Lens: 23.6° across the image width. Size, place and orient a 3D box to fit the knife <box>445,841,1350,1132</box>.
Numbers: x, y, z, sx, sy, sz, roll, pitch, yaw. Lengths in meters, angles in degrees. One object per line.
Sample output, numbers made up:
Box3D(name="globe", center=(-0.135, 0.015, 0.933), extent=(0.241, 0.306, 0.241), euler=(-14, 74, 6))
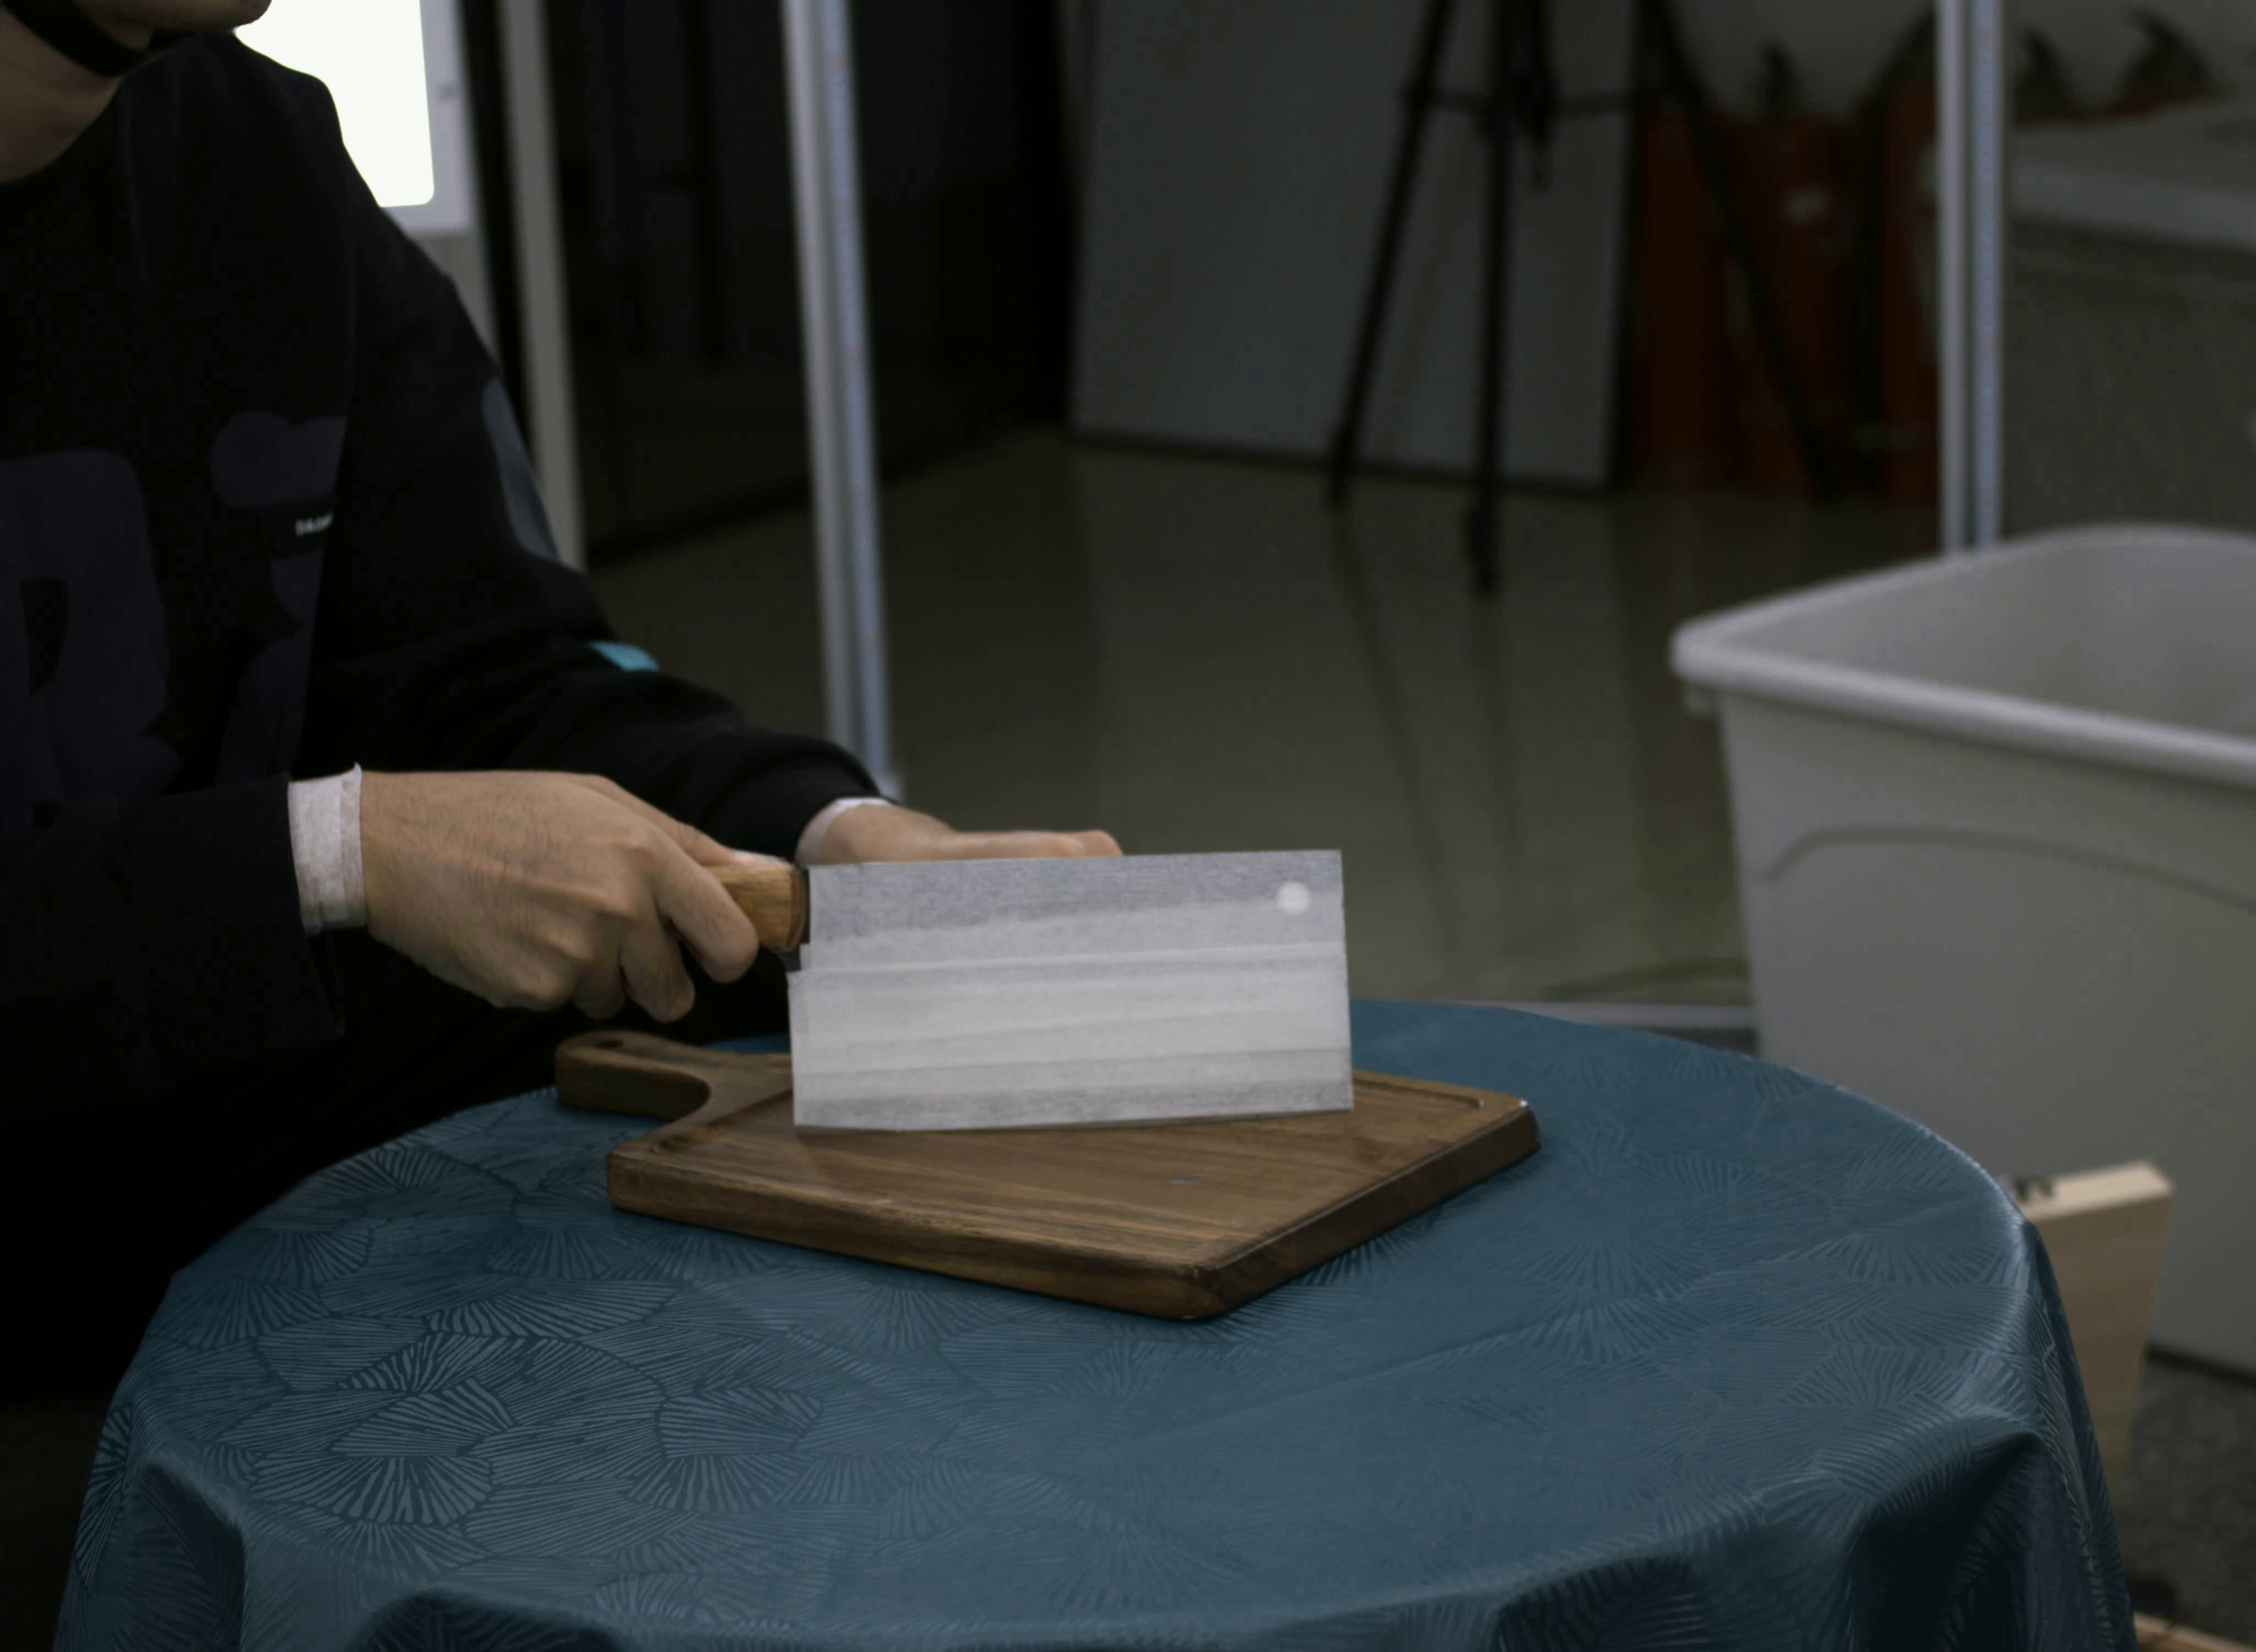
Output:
Box3D(name="knife", center=(-0.077, 0.055, 1.791), extent=(0.303, 0.094, 0.021), euler=(-2, 8, 10))

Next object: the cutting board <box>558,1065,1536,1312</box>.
Box3D(name="cutting board", center=(-0.056, 0.108, 1.813), extent=(0.354, 0.023, 0.197), euler=(4, 15, 38))
